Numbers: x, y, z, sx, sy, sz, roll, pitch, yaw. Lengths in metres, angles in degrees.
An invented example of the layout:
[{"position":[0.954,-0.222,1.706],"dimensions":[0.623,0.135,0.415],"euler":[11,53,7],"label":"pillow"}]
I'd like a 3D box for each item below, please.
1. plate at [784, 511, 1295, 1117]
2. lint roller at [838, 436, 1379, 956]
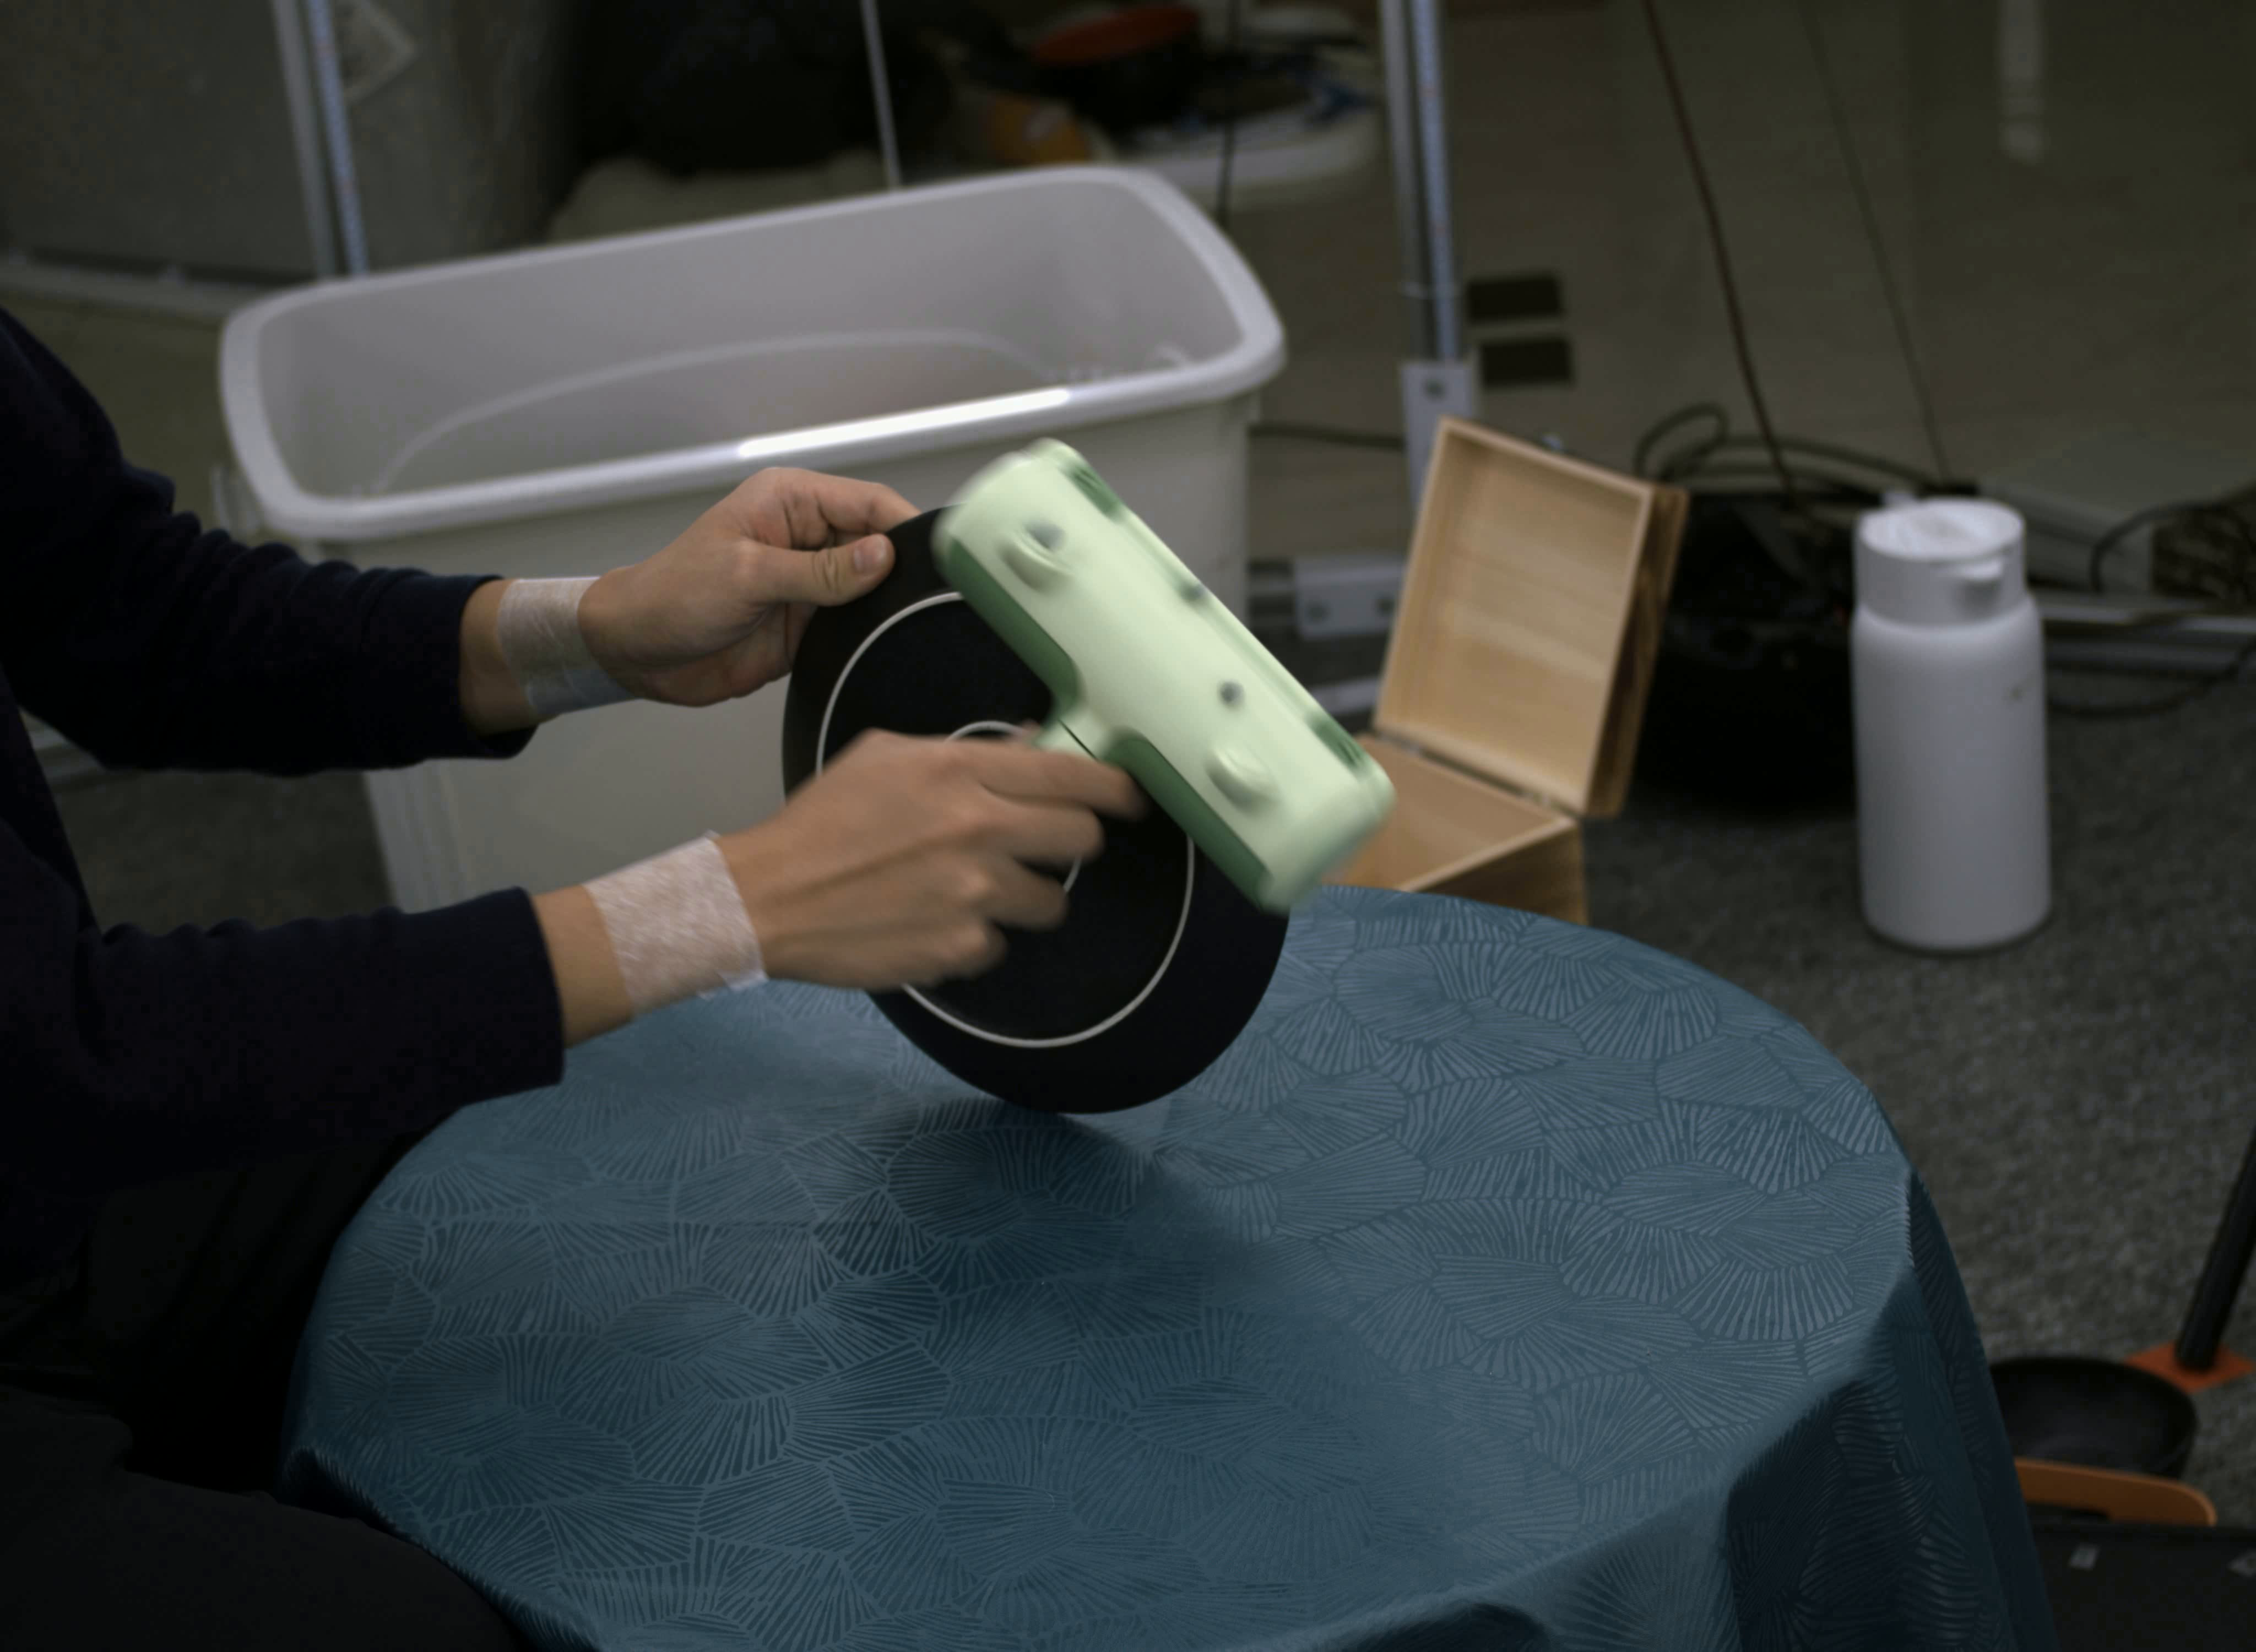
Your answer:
[{"position":[-0.042,-0.004,2.170],"dimensions":[0.243,0.247,0.023],"euler":[12,22,33],"label":"plate"},{"position":[-0.037,-0.025,2.064],"dimensions":[0.182,0.083,0.197],"euler":[-41,74,-13],"label":"lint roller"}]
